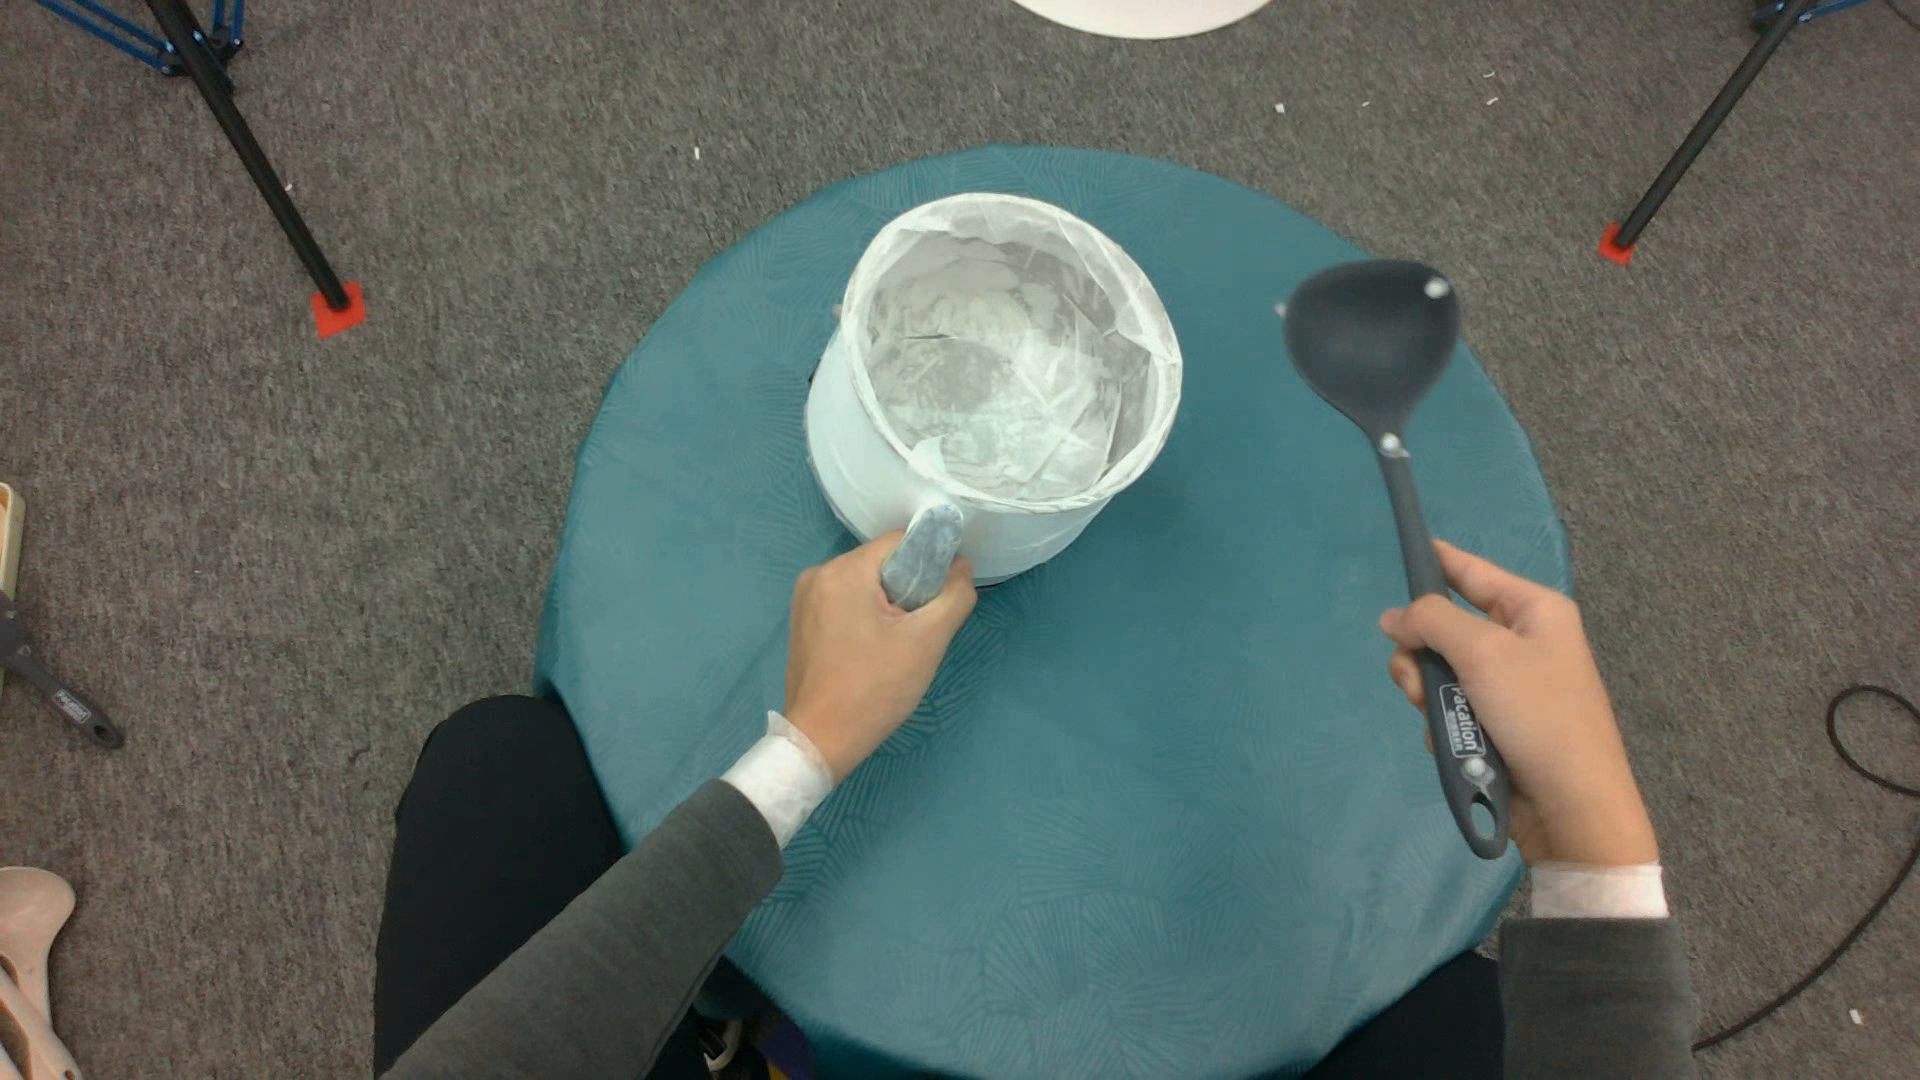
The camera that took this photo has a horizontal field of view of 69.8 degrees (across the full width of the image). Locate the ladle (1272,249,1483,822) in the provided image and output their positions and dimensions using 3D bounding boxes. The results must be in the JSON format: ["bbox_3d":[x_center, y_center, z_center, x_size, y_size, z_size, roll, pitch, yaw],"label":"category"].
[{"bbox_3d":[0.198,-0.020,0.625,0.086,0.064,0.315,-11,43,17],"label":"ladle"}]

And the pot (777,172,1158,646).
[{"bbox_3d":[-0.010,-0.060,0.723,0.179,0.136,0.234,23,64,-8],"label":"pot"}]
